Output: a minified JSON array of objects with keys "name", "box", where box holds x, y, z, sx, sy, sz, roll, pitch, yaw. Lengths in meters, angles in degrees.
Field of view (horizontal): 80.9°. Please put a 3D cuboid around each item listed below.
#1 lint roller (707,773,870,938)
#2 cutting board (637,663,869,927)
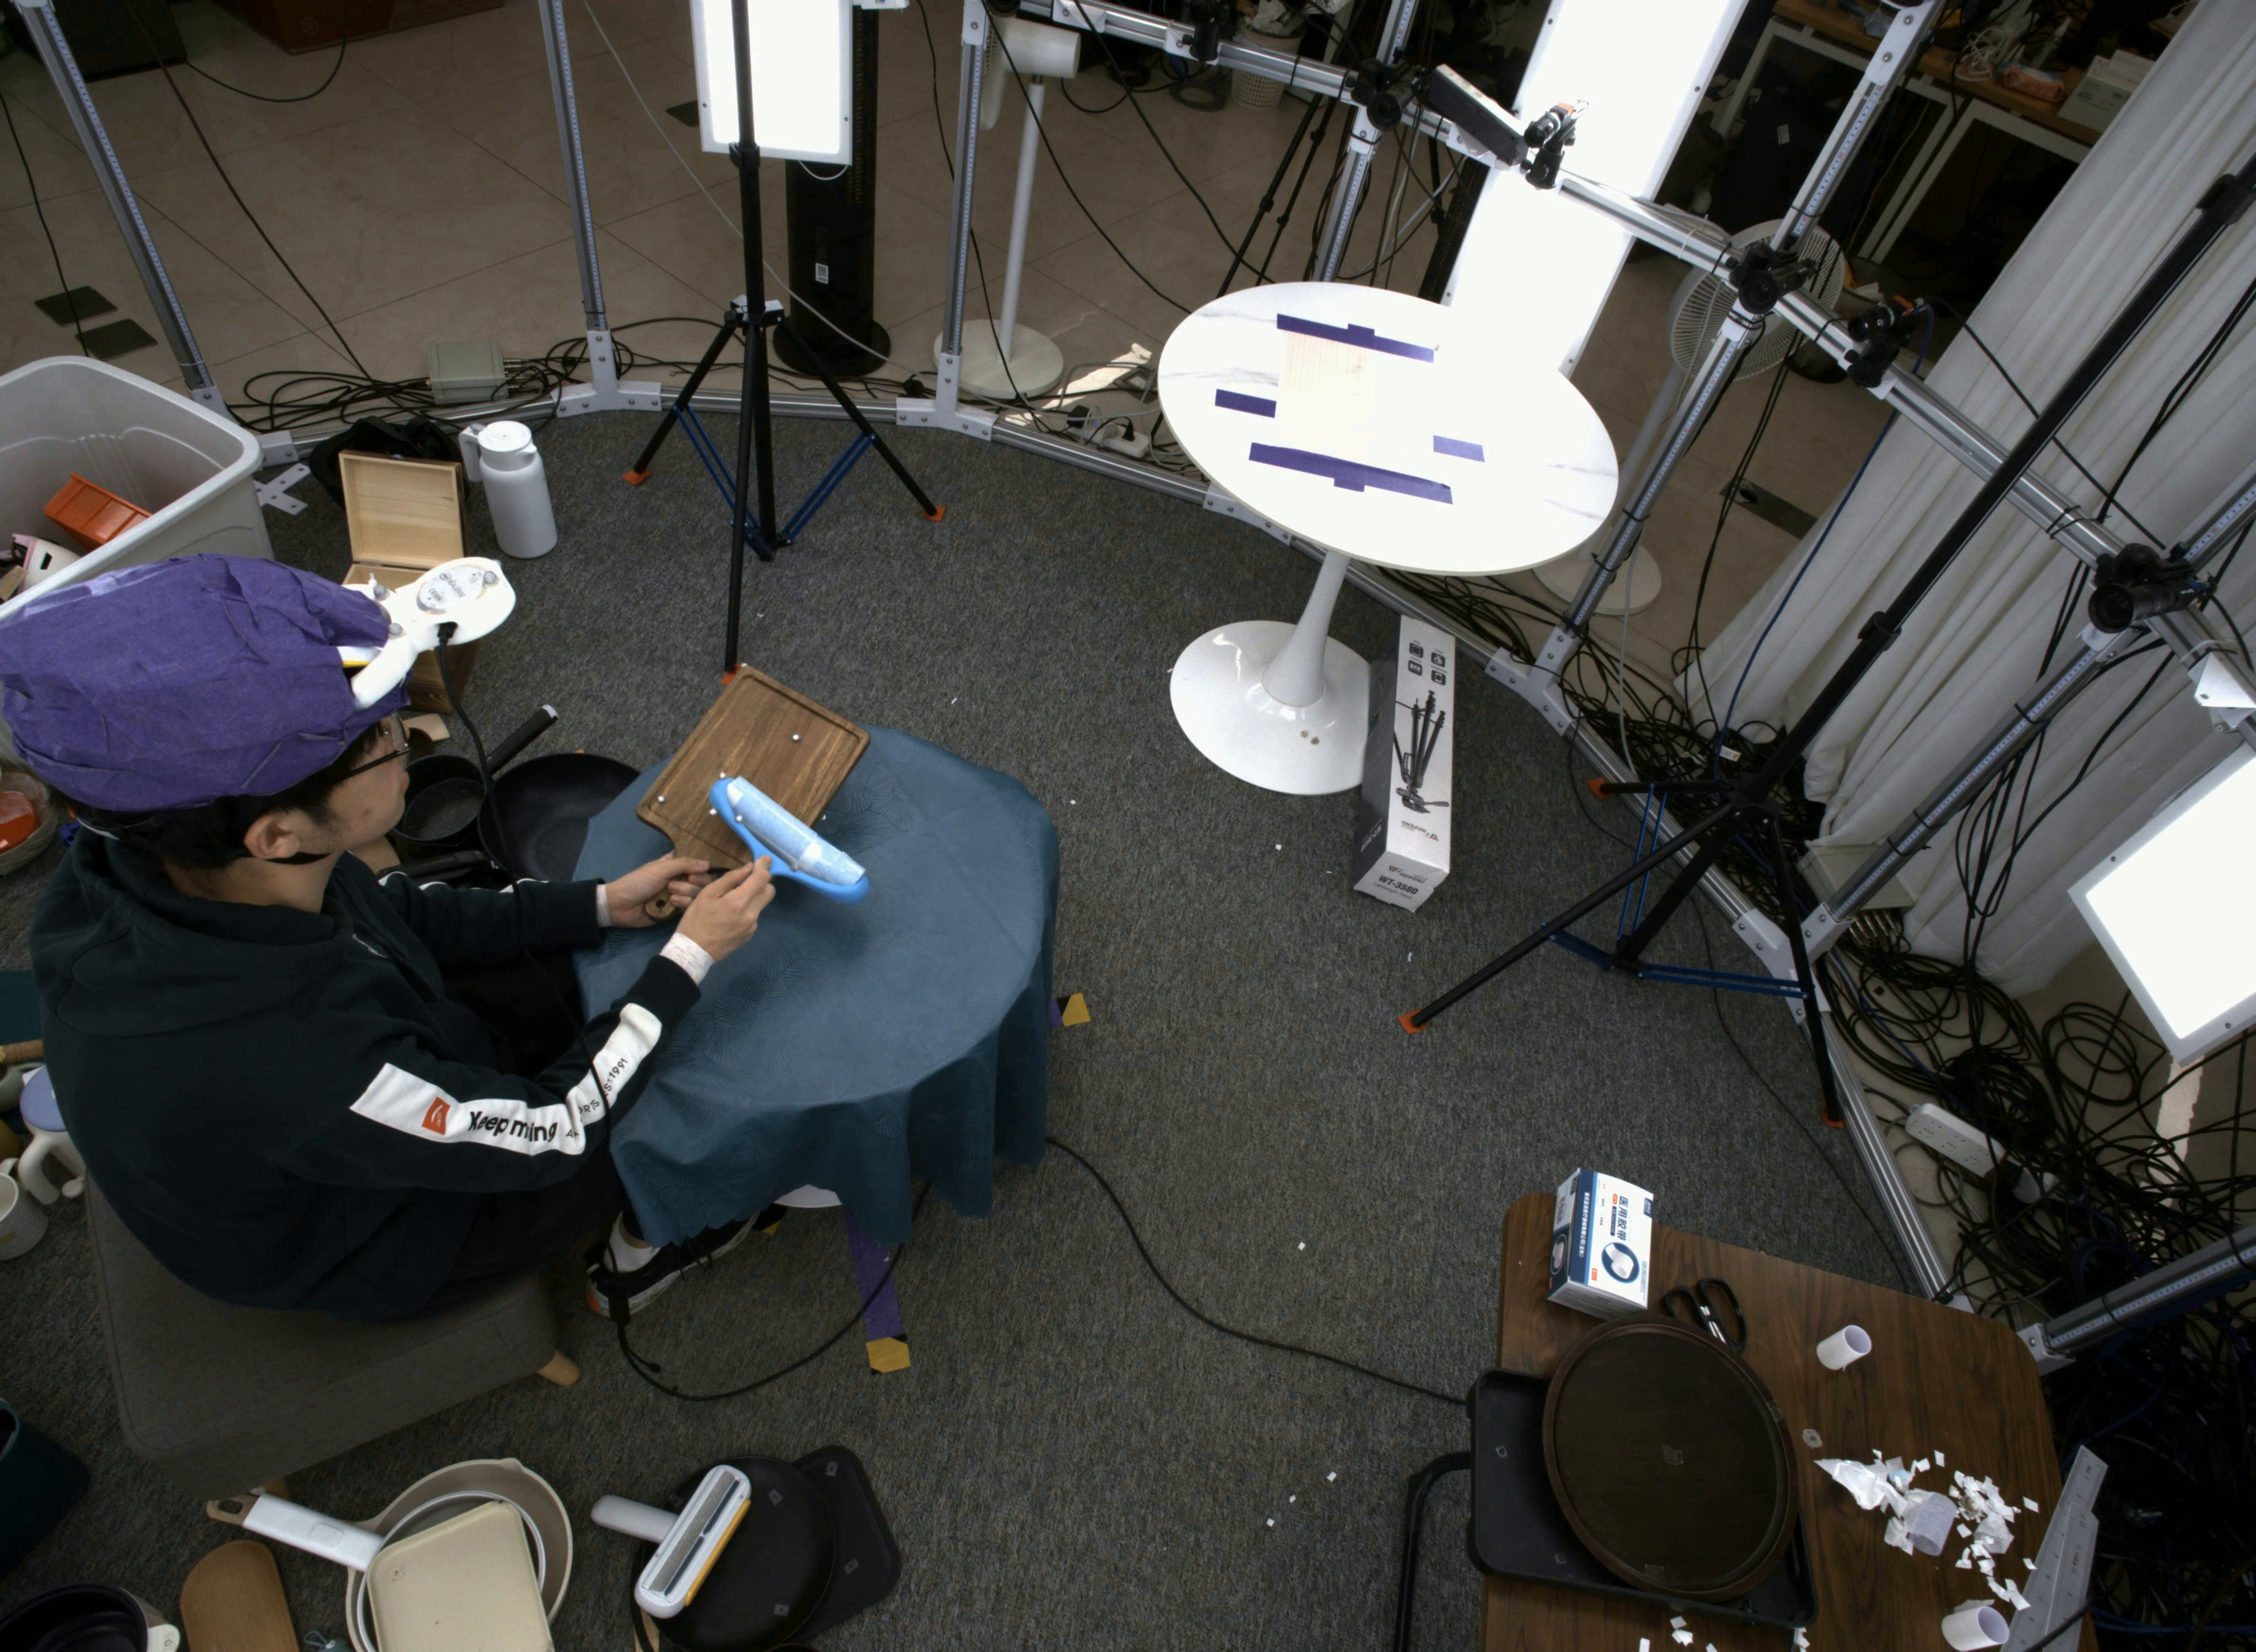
[{"name":"lint roller","box":[-0.438,0.054,1.560,0.232,0.067,0.179,36,53,-12]},{"name":"cutting board","box":[-0.498,-0.028,1.630,0.200,0.023,0.351,29,66,-1]}]
